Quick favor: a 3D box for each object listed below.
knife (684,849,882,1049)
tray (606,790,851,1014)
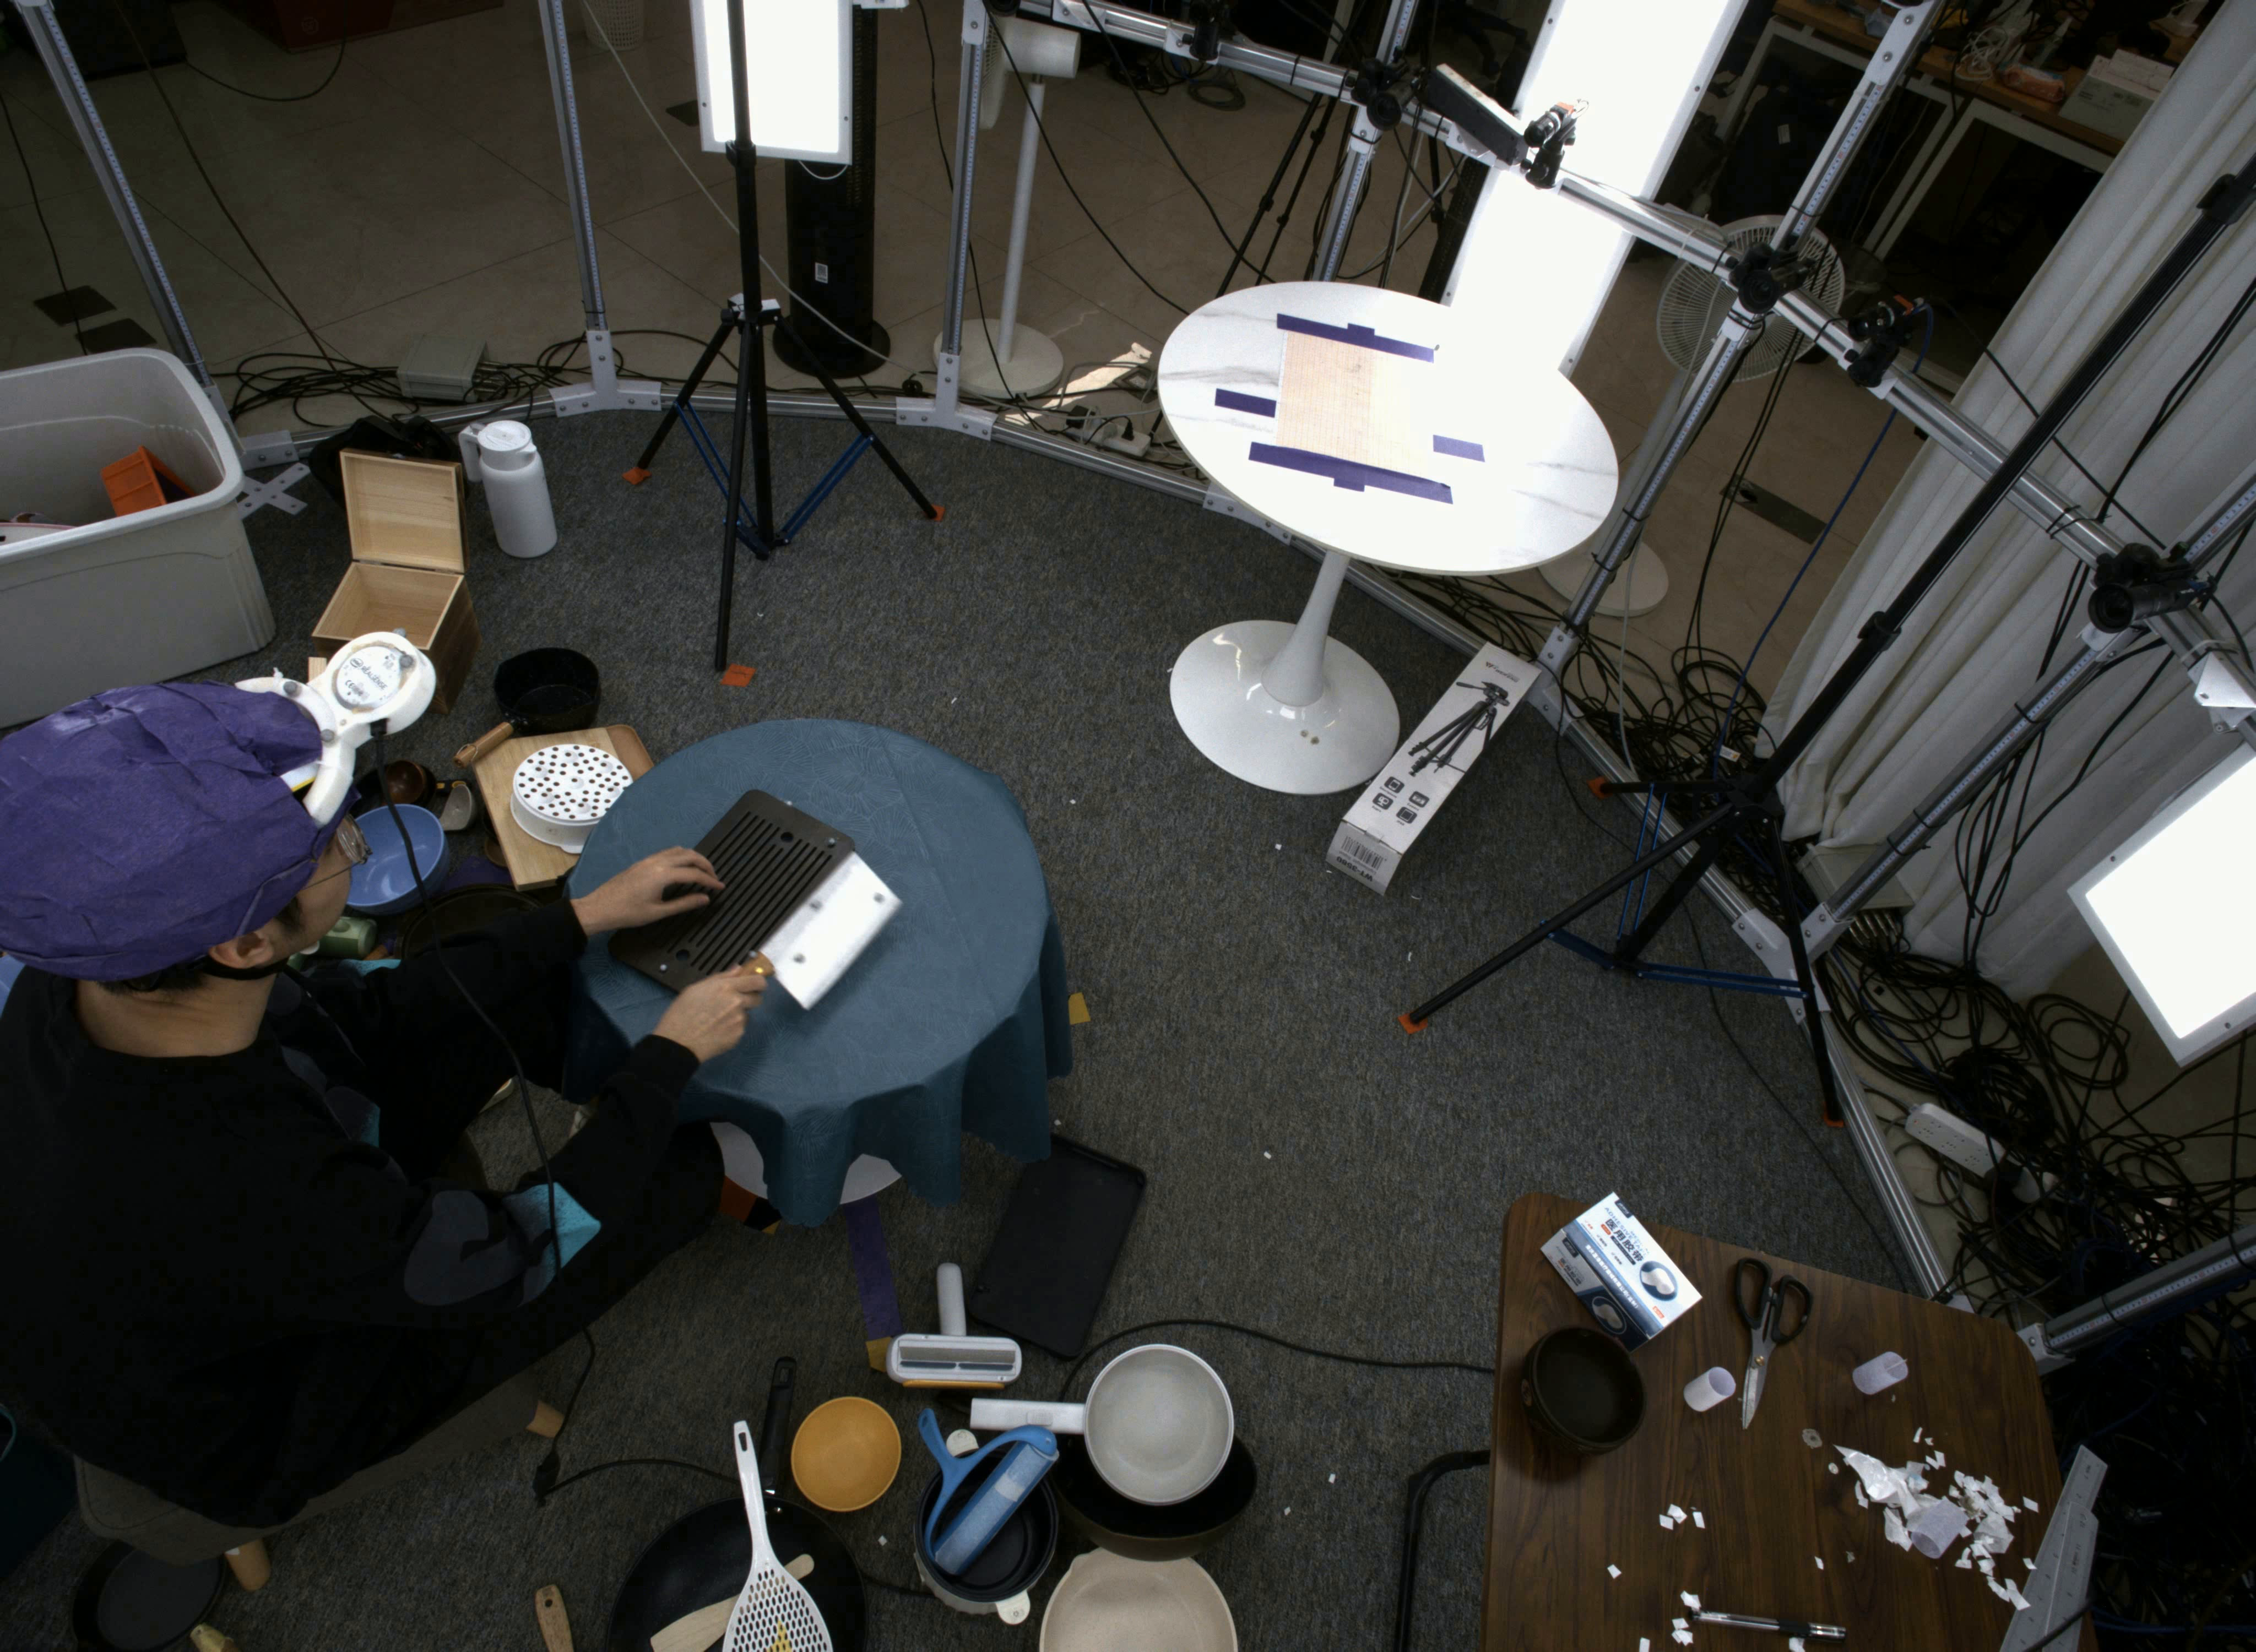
[{"bbox_3d":[-0.392,0.154,1.519,0.095,0.020,0.304,52,51,-21],"label":"knife"},{"bbox_3d":[-0.496,0.089,1.616,0.168,0.019,0.304,28,52,6],"label":"tray"}]
